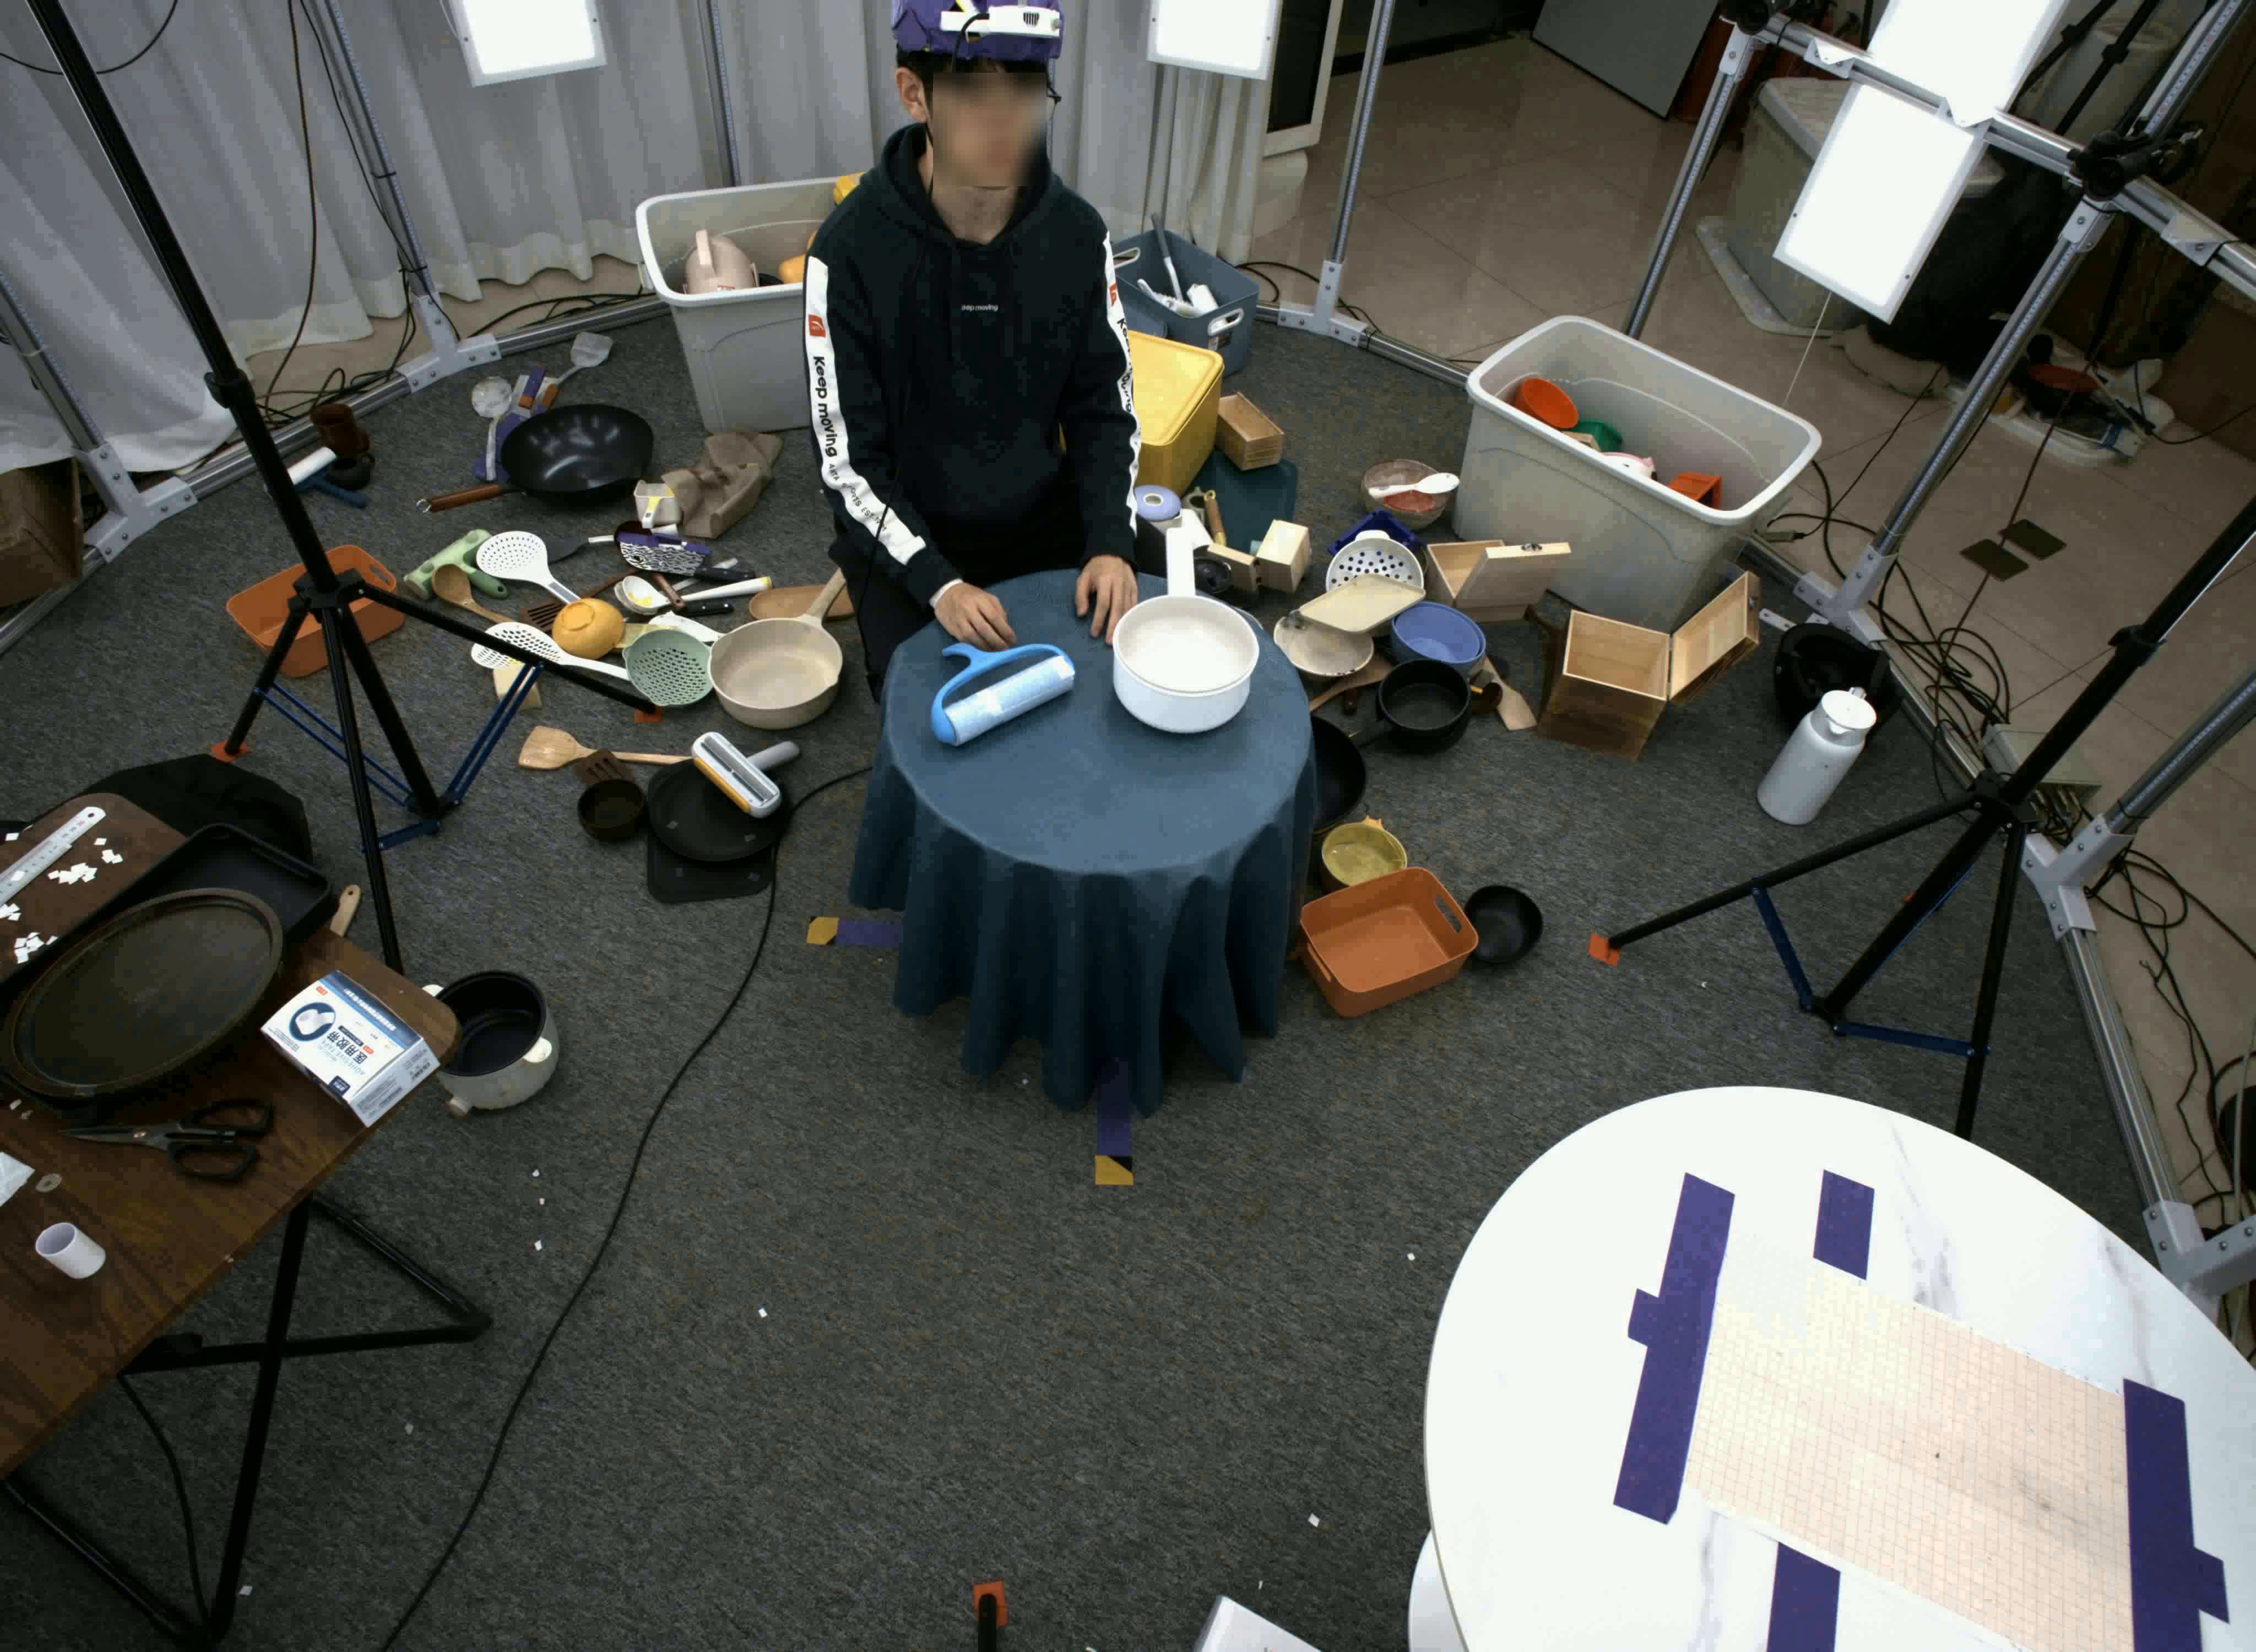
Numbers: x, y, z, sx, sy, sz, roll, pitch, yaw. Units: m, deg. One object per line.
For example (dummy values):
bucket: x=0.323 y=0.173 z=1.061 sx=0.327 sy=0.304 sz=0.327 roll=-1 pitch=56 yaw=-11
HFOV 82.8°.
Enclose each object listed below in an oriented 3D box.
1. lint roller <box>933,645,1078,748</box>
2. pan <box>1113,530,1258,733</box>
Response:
lint roller: x=-0.203 y=-0.211 z=1.801 sx=0.230 sy=0.066 sz=0.183 roll=-33 pitch=59 yaw=-26
pan: x=0.077 y=-0.281 z=1.854 sx=0.201 sy=0.099 sz=0.364 roll=1 pitch=48 yaw=-1
